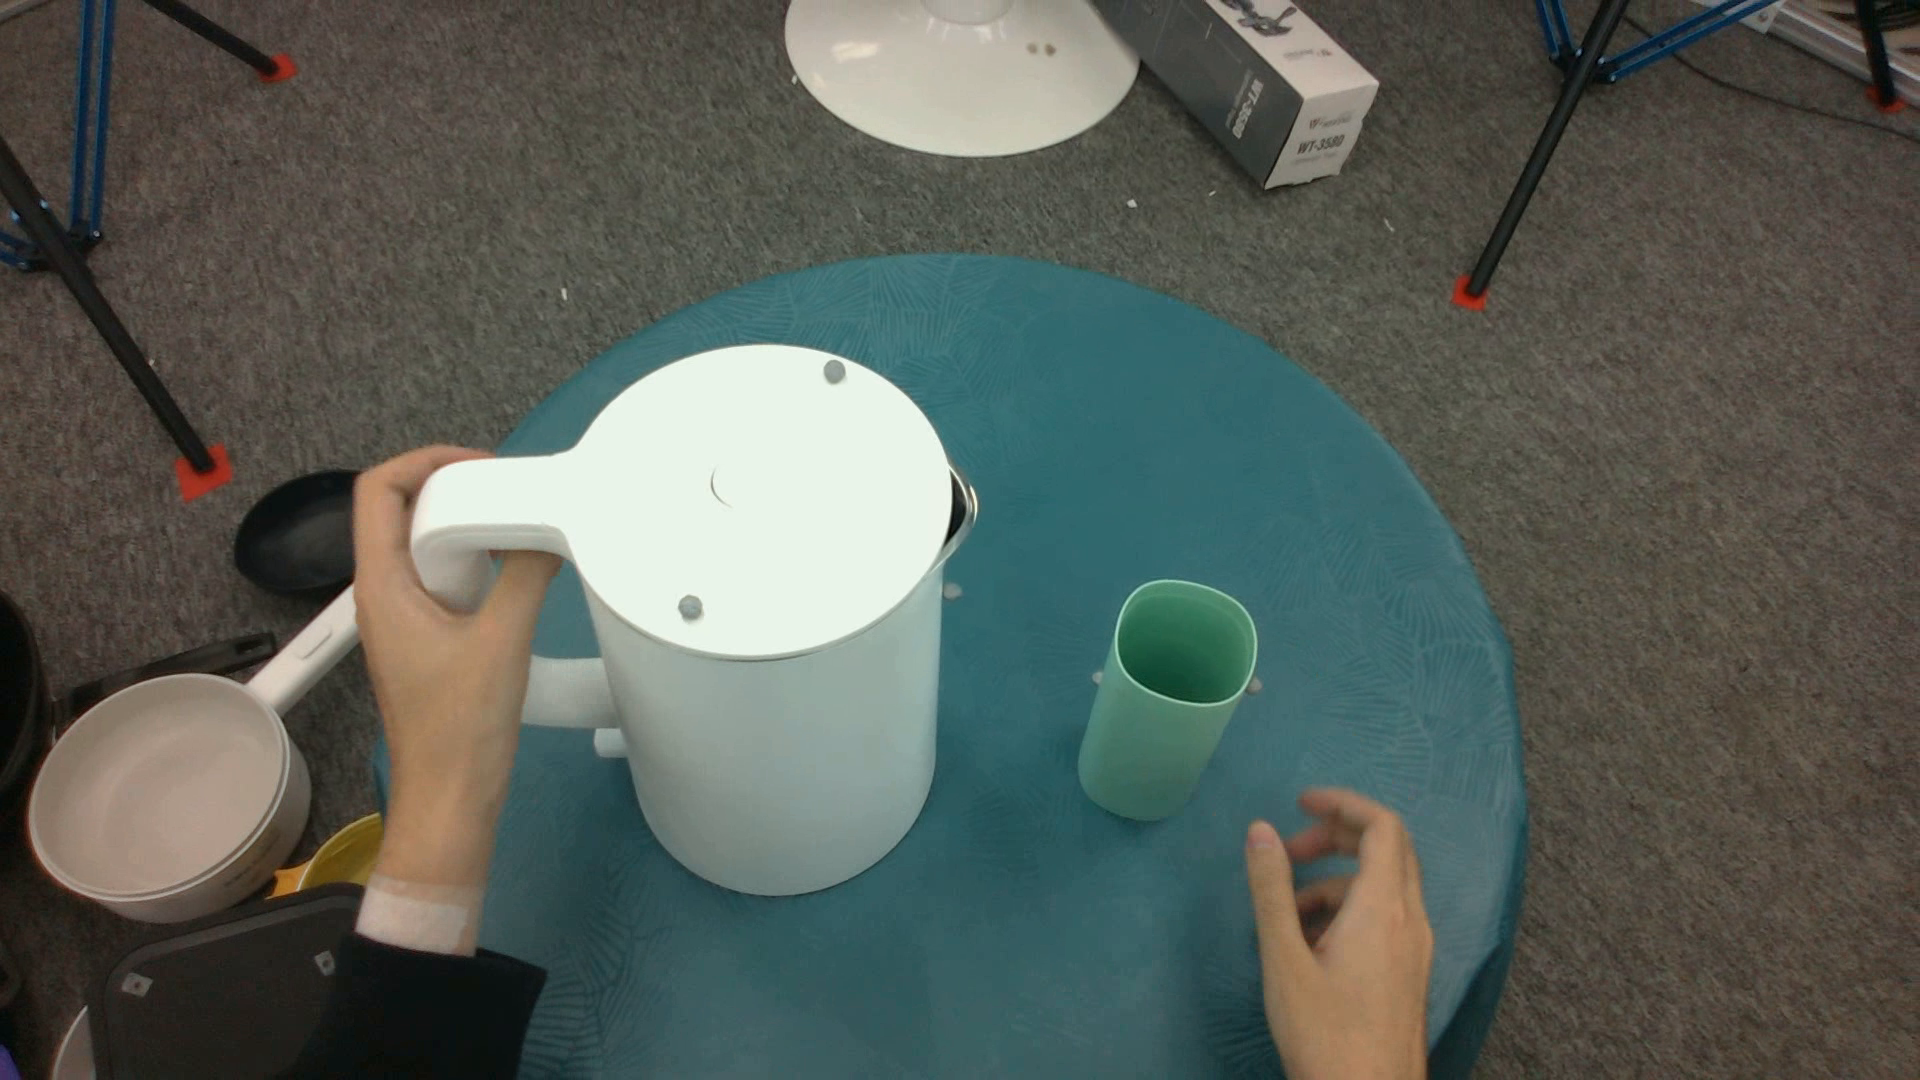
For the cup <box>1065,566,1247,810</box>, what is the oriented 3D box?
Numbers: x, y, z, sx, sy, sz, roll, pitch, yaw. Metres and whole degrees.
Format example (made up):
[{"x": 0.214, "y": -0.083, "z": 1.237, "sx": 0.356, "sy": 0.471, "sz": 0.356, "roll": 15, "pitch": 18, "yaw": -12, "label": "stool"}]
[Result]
[{"x": 0.090, "y": 0.075, "z": 0.660, "sx": 0.067, "sy": 0.131, "sz": 0.067, "roll": 3, "pitch": 56, "yaw": -4, "label": "cup"}]

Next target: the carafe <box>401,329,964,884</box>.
[{"x": -0.112, "y": 0.037, "z": 0.604, "sx": 0.213, "sy": 0.239, "sz": 0.153, "roll": 1, "pitch": 55, "yaw": -5, "label": "carafe"}]
